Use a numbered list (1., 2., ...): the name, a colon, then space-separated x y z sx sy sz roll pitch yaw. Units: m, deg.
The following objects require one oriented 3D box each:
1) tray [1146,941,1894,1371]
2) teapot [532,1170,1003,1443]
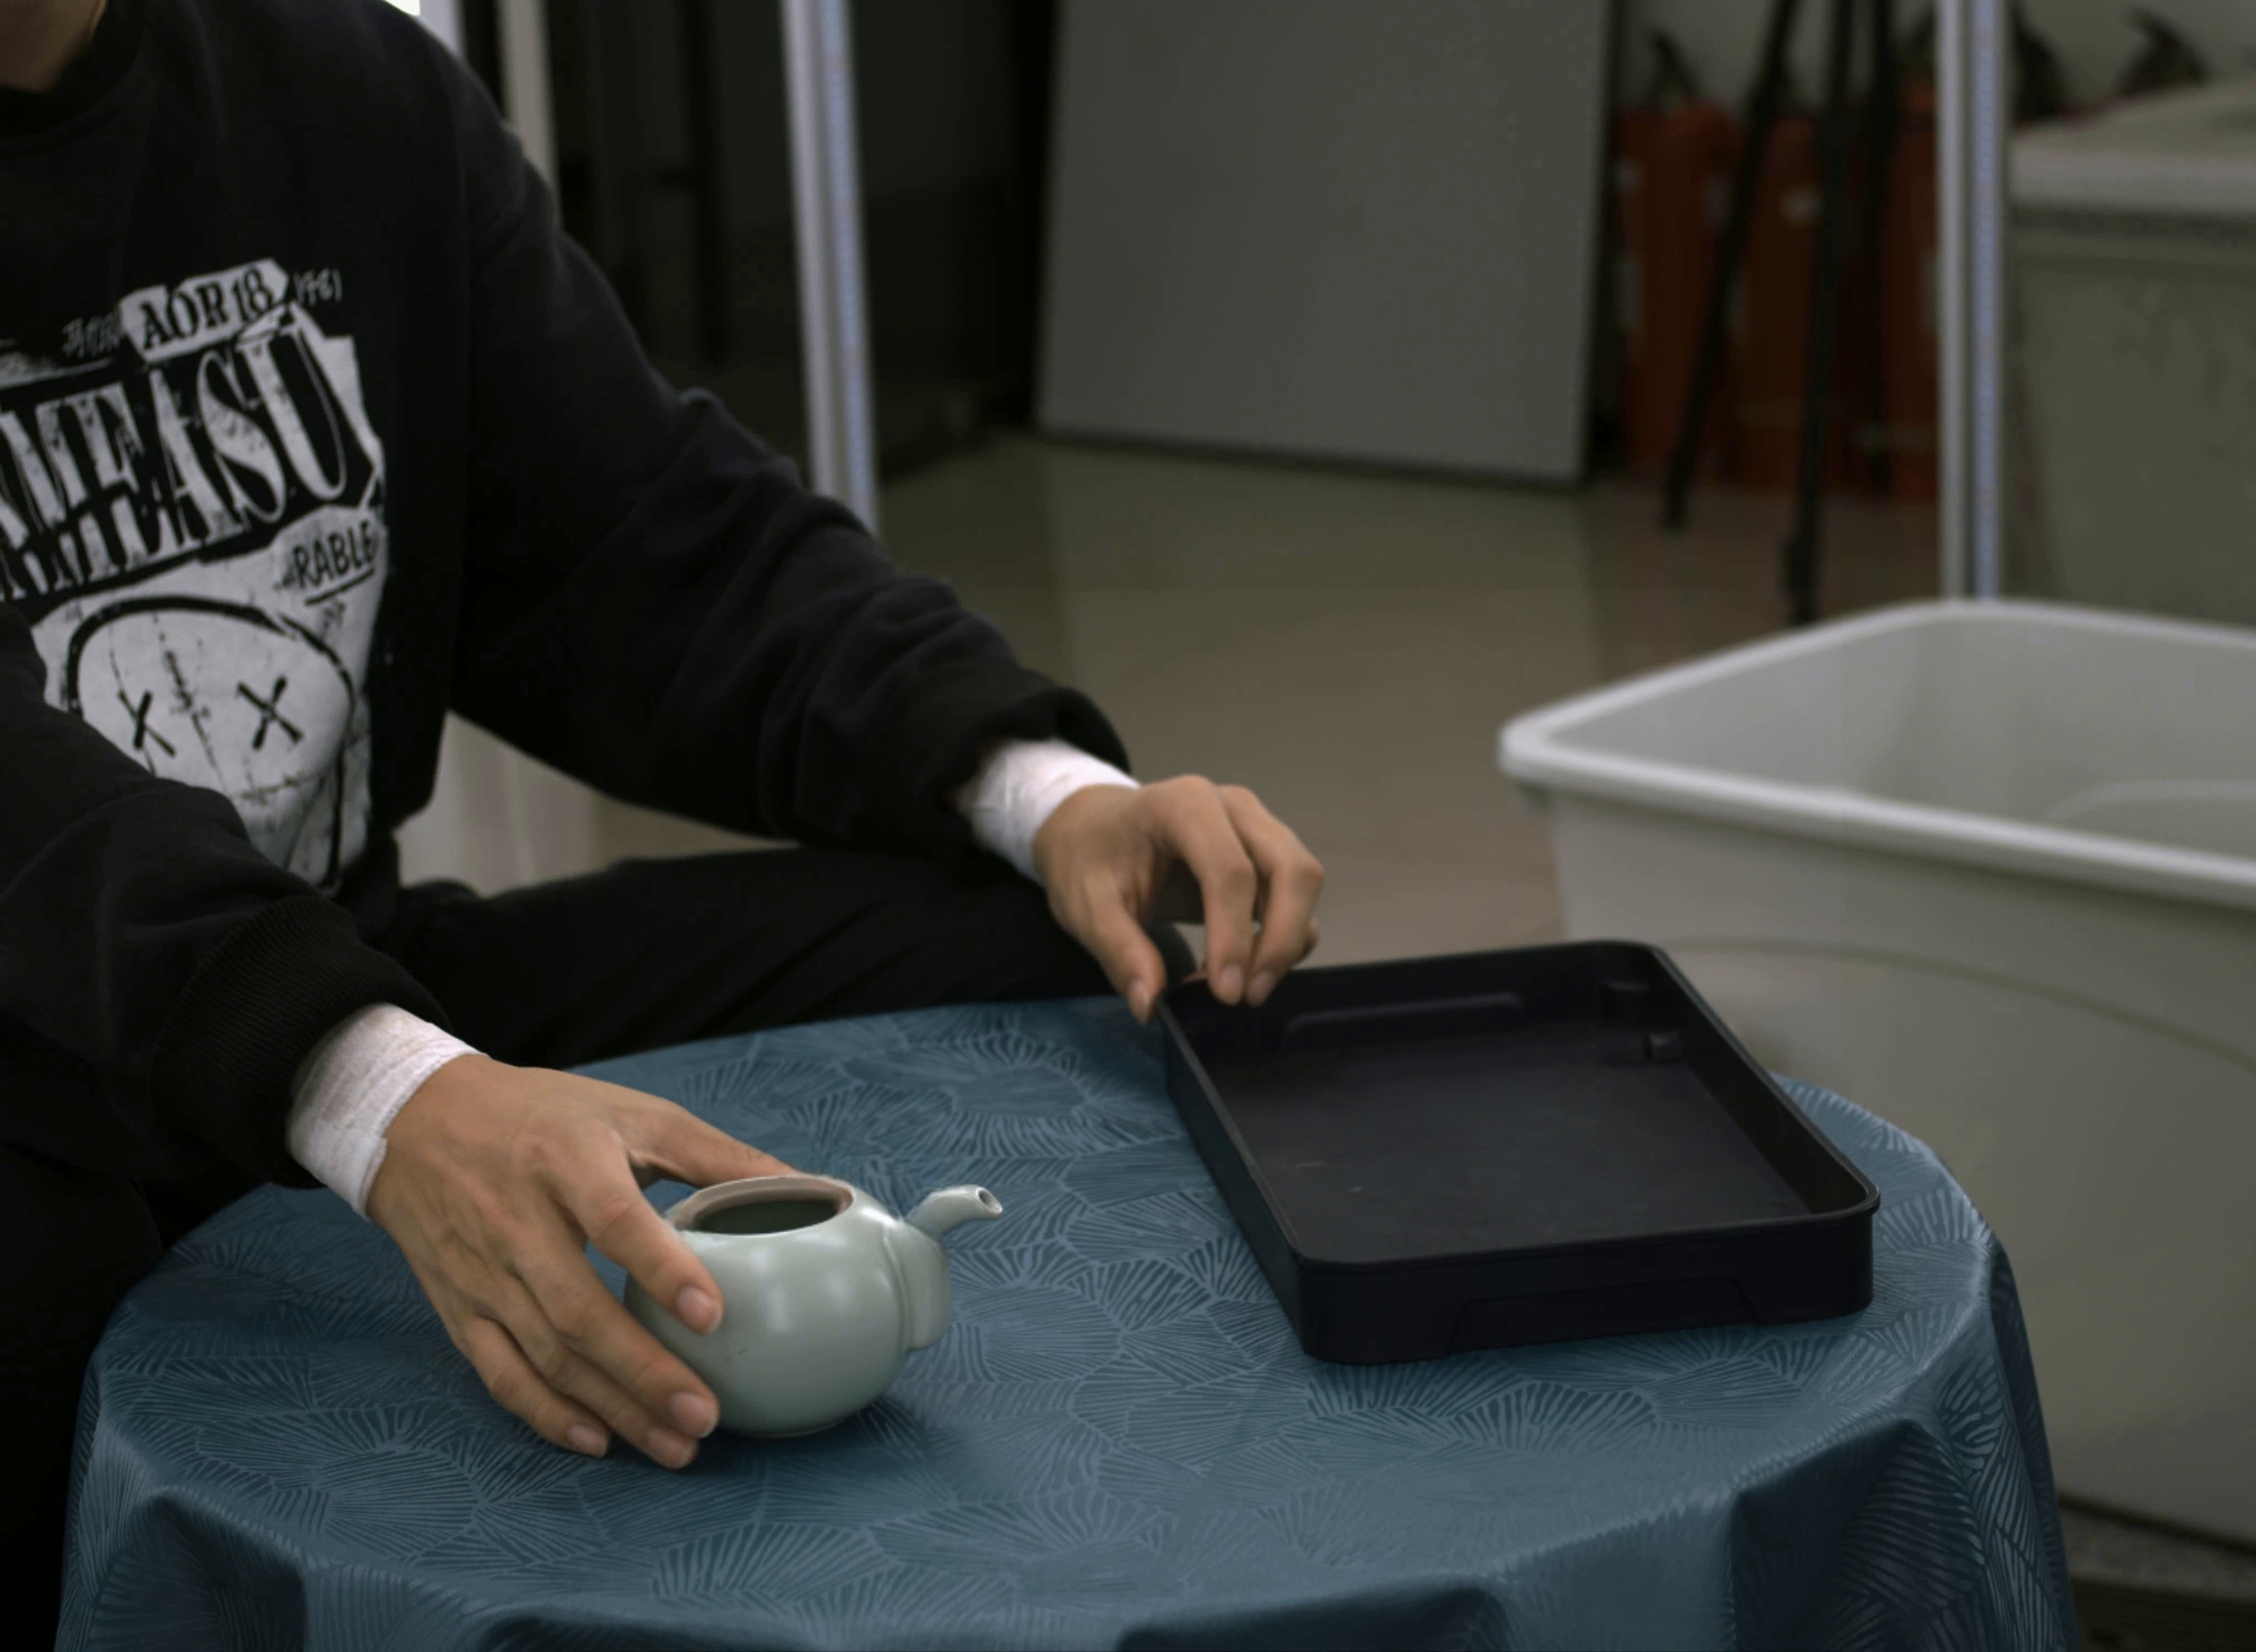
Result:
1. tray: 0.119 0.101 1.742 0.181 0.037 0.320 -6 14 -8
2. teapot: -0.104 0.139 1.583 0.143 0.075 0.088 1 14 15
